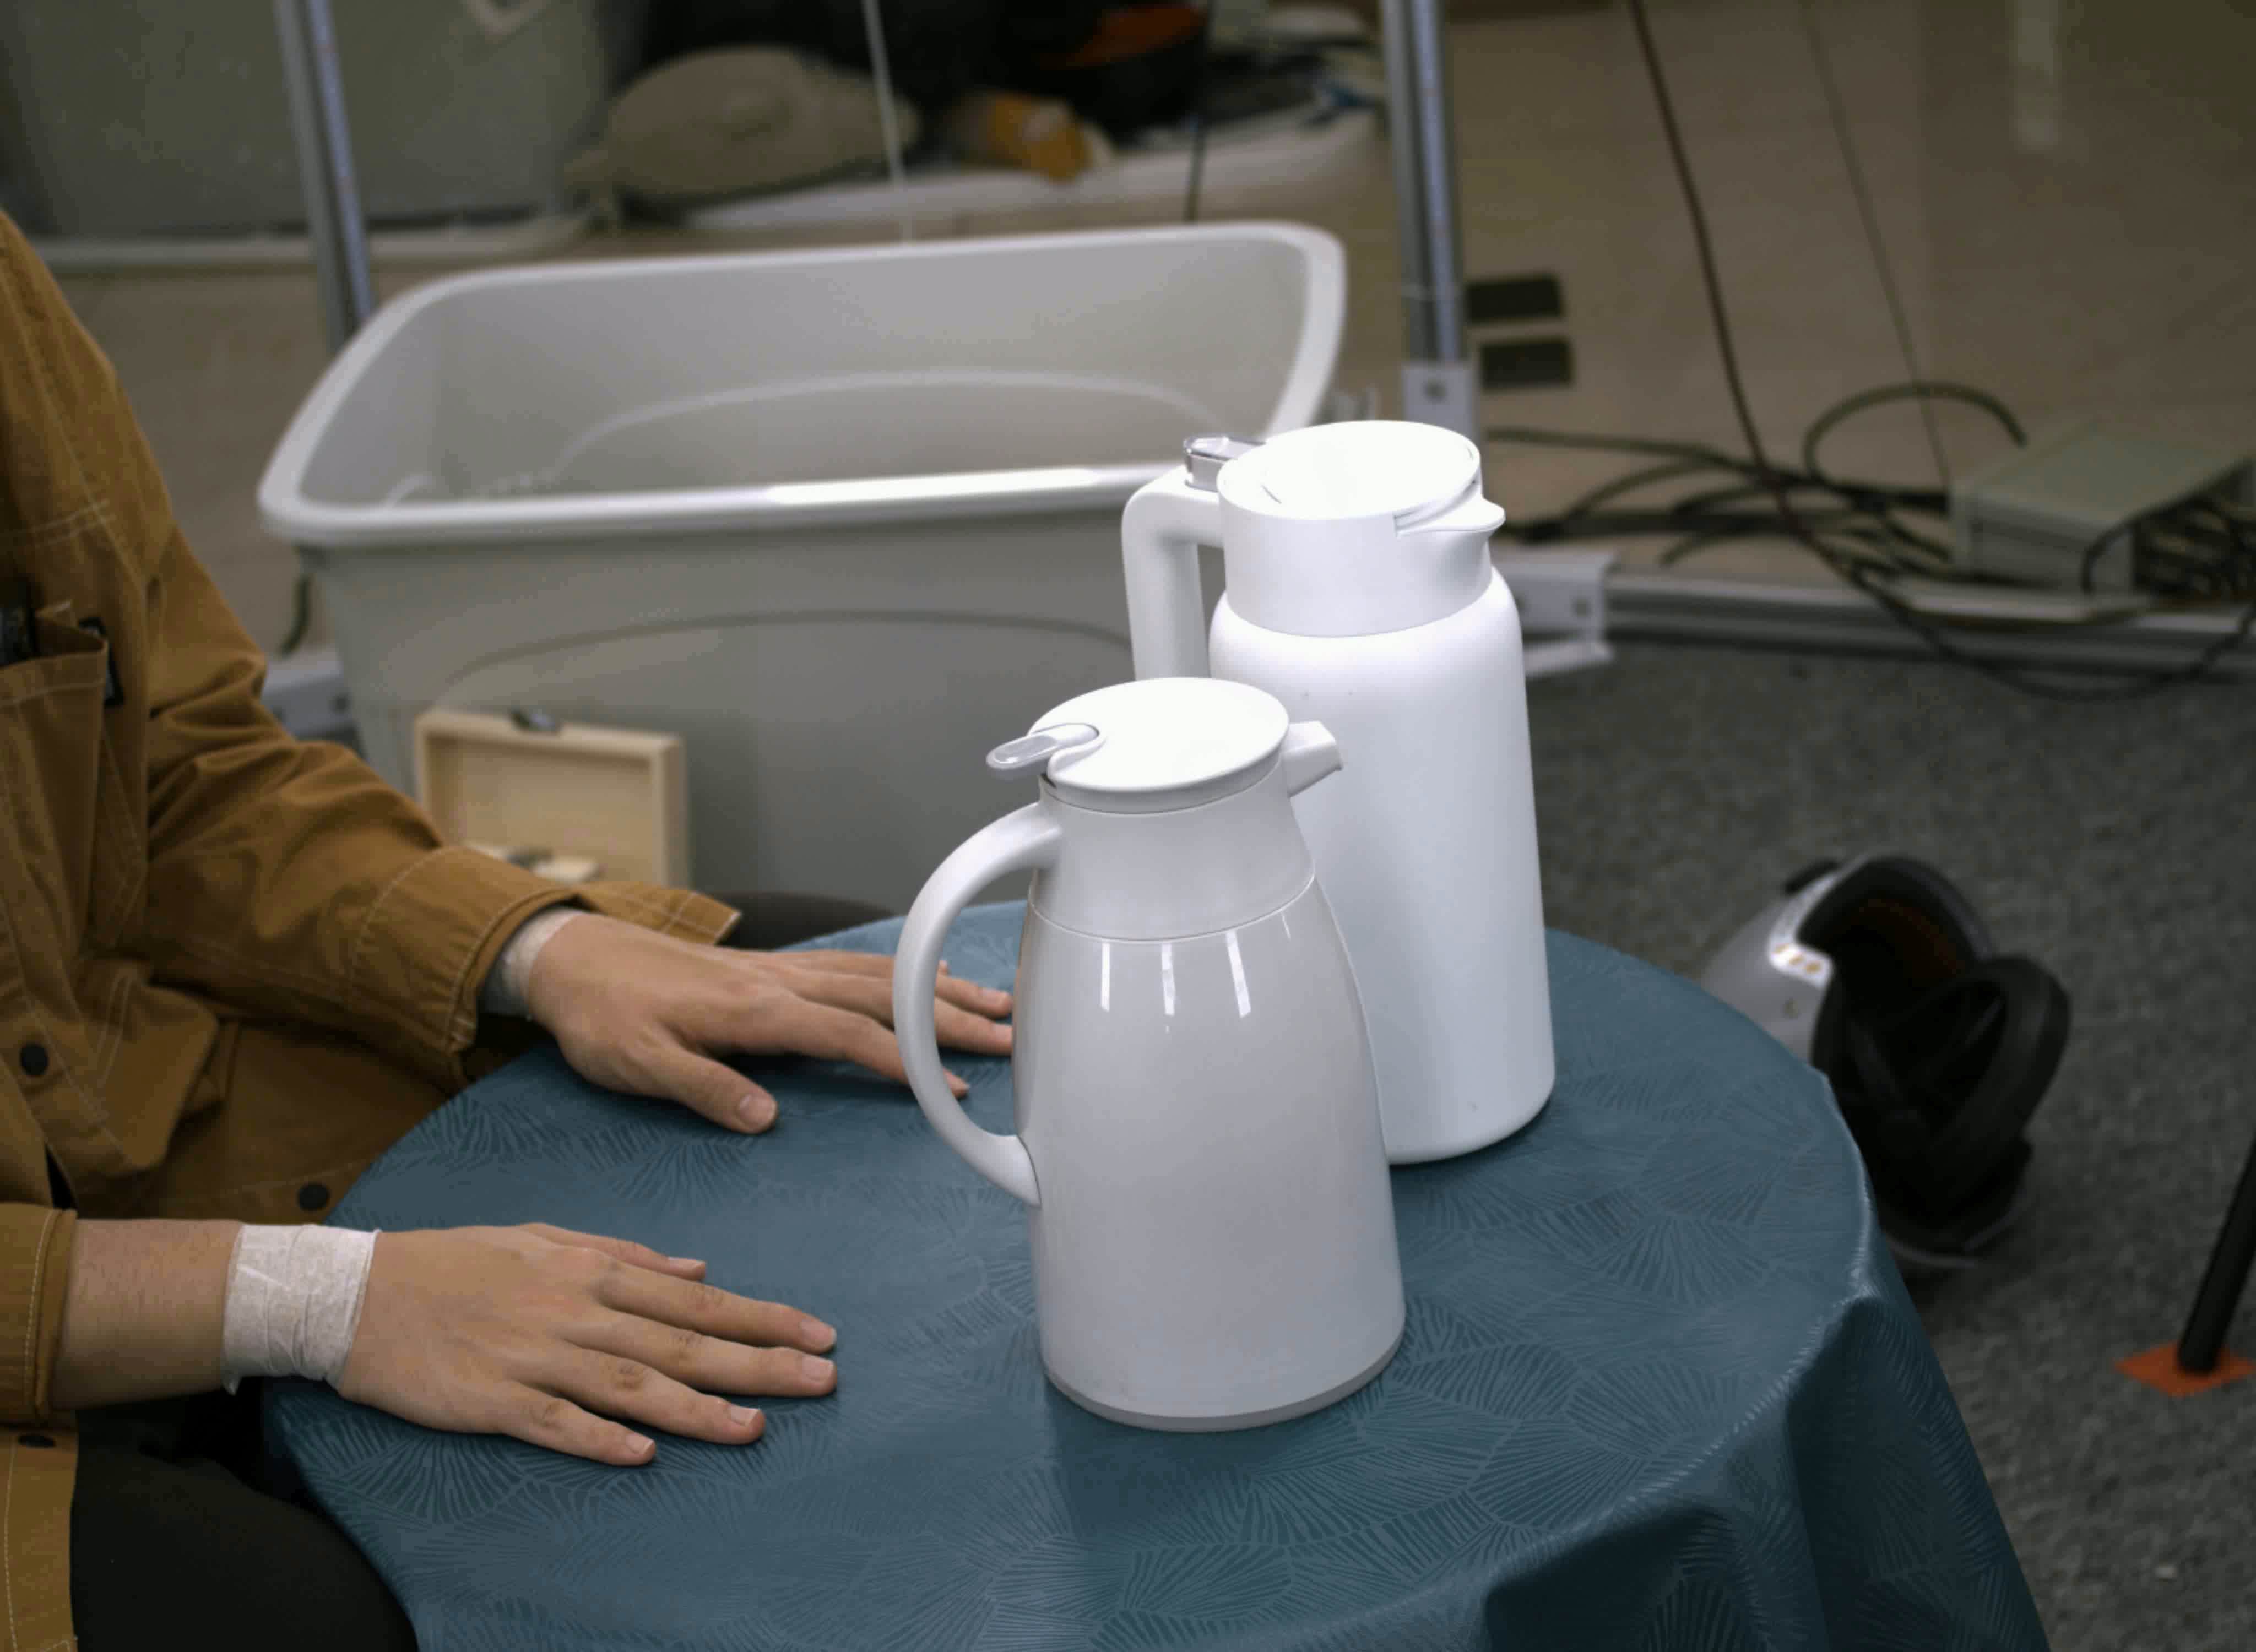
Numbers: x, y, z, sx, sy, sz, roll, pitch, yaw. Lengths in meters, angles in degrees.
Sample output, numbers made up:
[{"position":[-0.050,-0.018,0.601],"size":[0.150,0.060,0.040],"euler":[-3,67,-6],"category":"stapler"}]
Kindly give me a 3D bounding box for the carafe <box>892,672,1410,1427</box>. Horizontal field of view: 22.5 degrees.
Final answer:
[{"position":[0.004,0.076,1.983],"size":[0.167,0.252,0.131],"euler":[-14,27,-12],"category":"carafe"}]

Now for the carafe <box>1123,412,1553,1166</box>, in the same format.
[{"position":[0.080,-0.015,2.140],"size":[0.172,0.273,0.122],"euler":[14,34,36],"category":"carafe"}]
